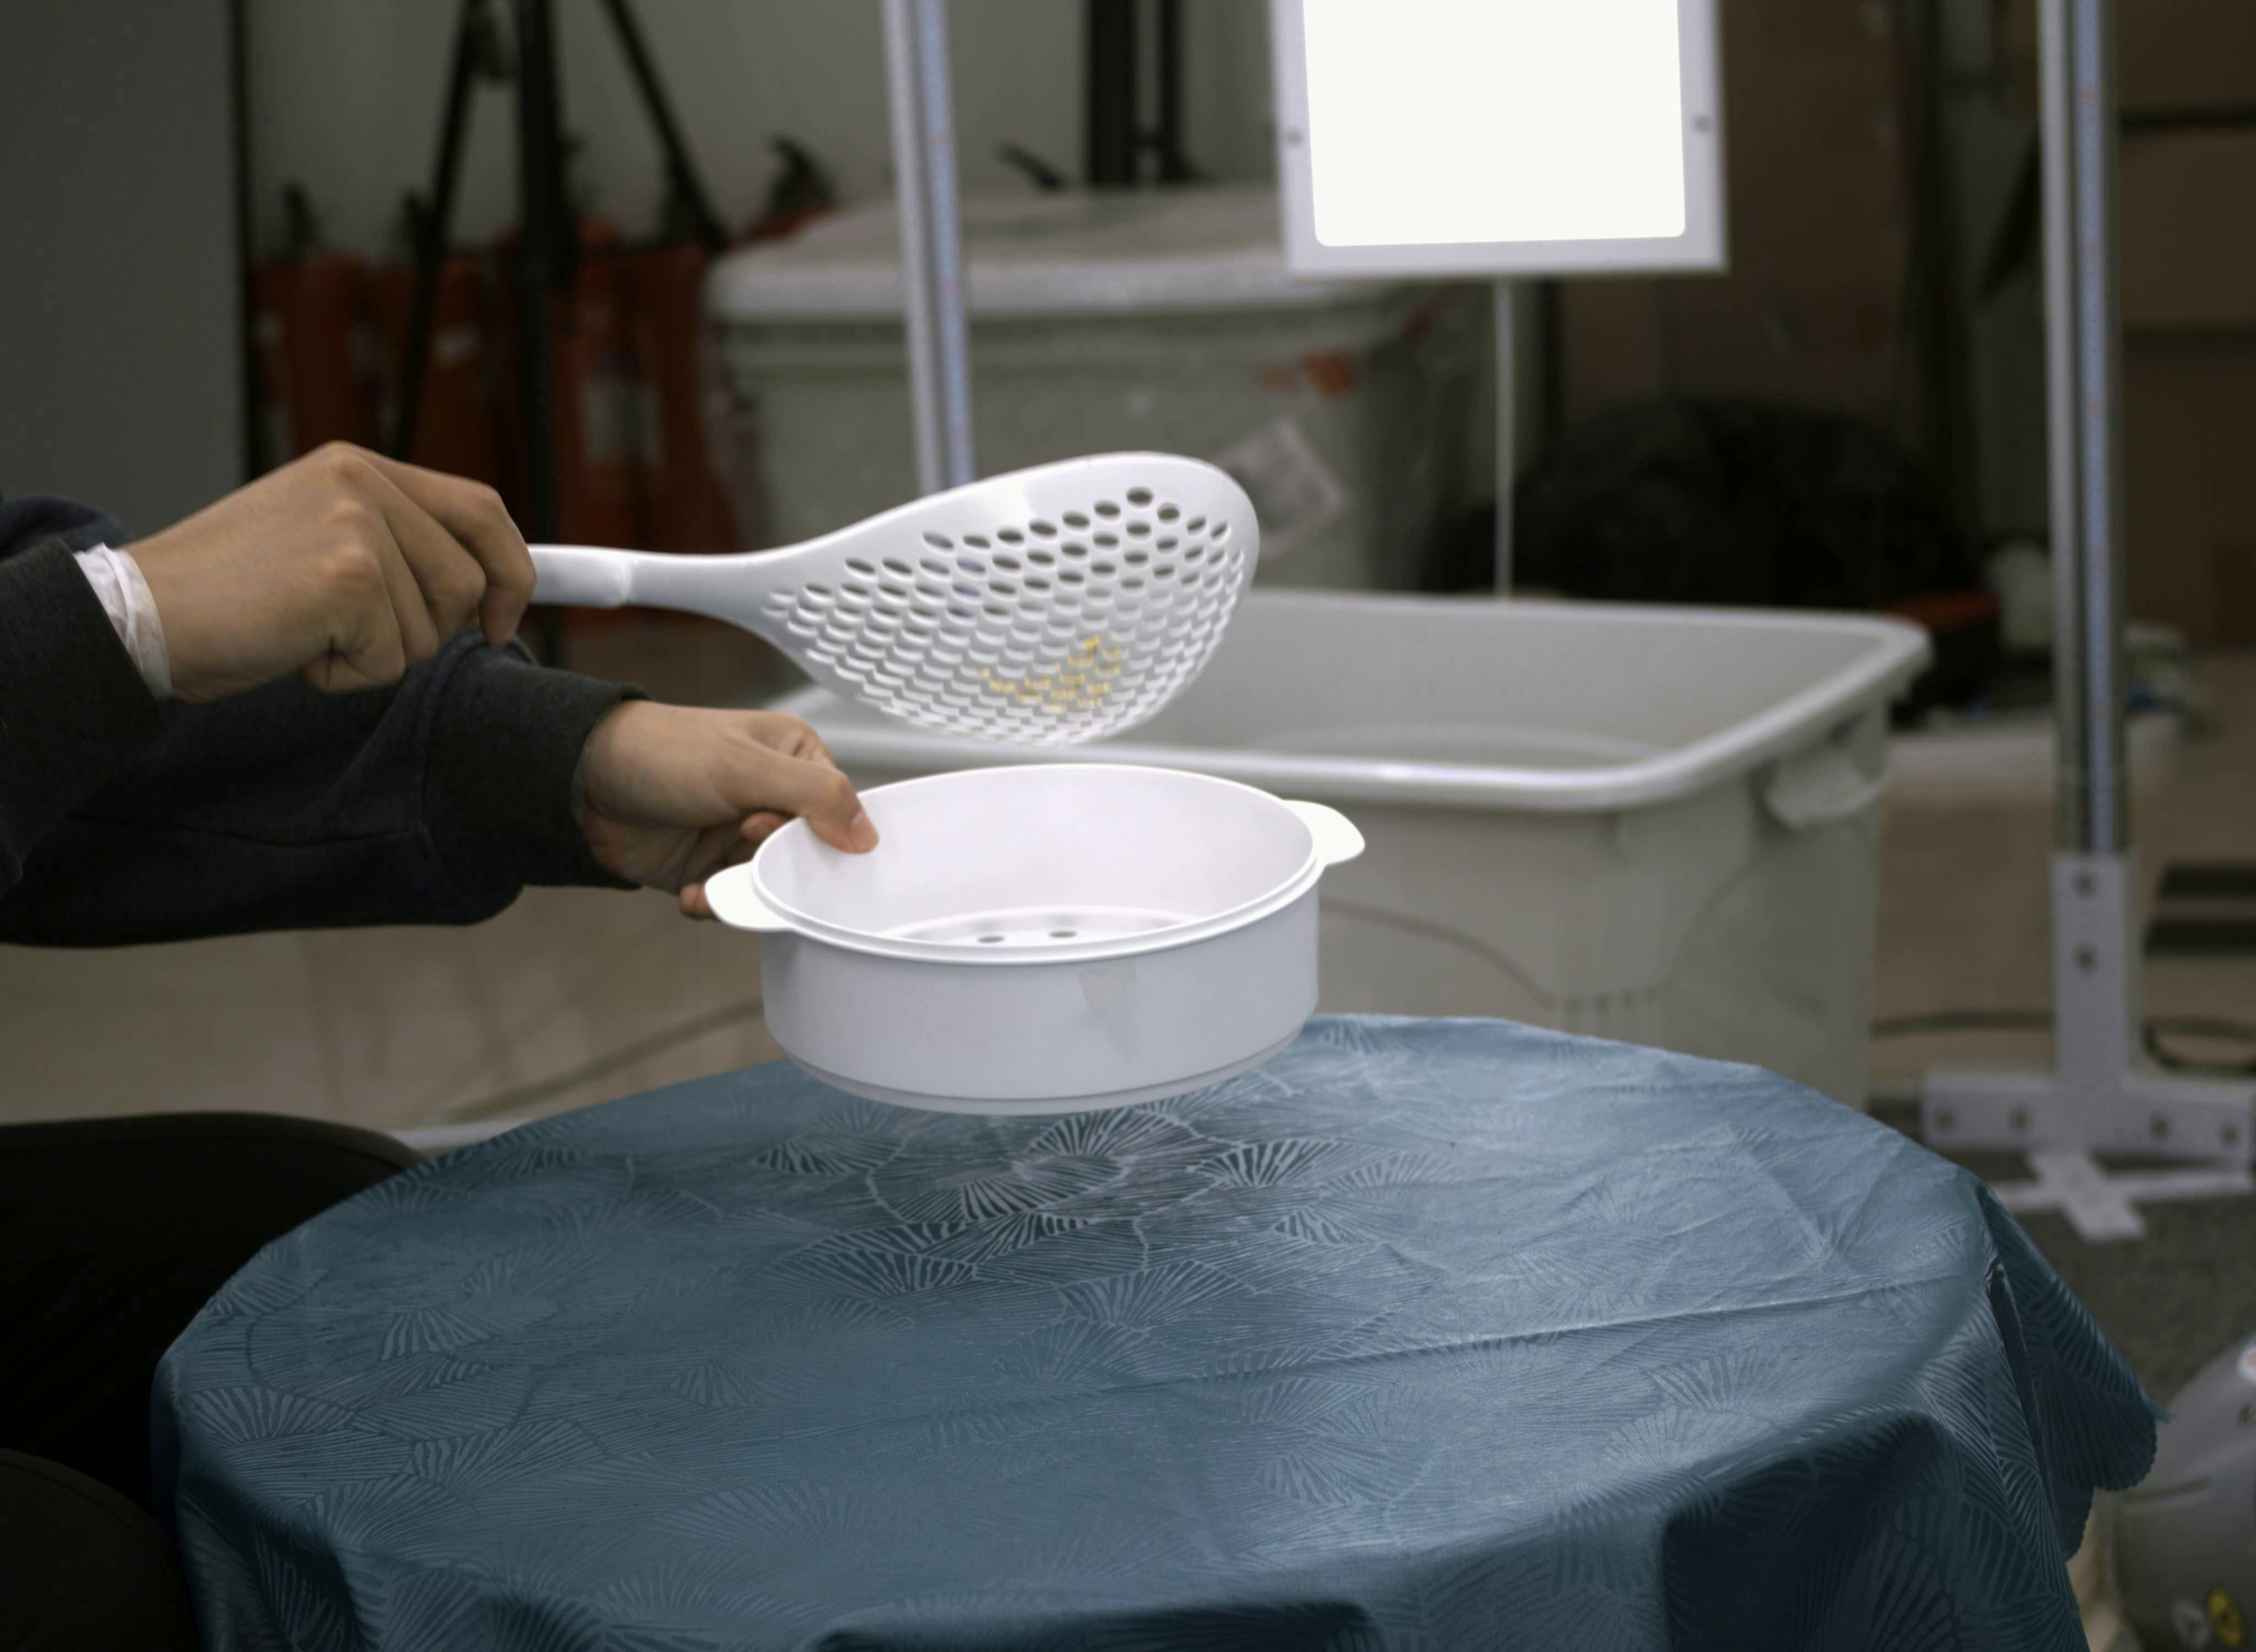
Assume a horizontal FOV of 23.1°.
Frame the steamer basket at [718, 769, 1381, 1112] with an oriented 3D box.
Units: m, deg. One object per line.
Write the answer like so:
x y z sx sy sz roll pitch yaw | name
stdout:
-0.026 0.039 1.903 0.228 0.069 0.203 -5 18 -12 | steamer basket

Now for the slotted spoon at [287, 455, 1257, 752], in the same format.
-0.111 -0.069 1.769 0.340 0.139 0.050 6 46 -26 | slotted spoon
